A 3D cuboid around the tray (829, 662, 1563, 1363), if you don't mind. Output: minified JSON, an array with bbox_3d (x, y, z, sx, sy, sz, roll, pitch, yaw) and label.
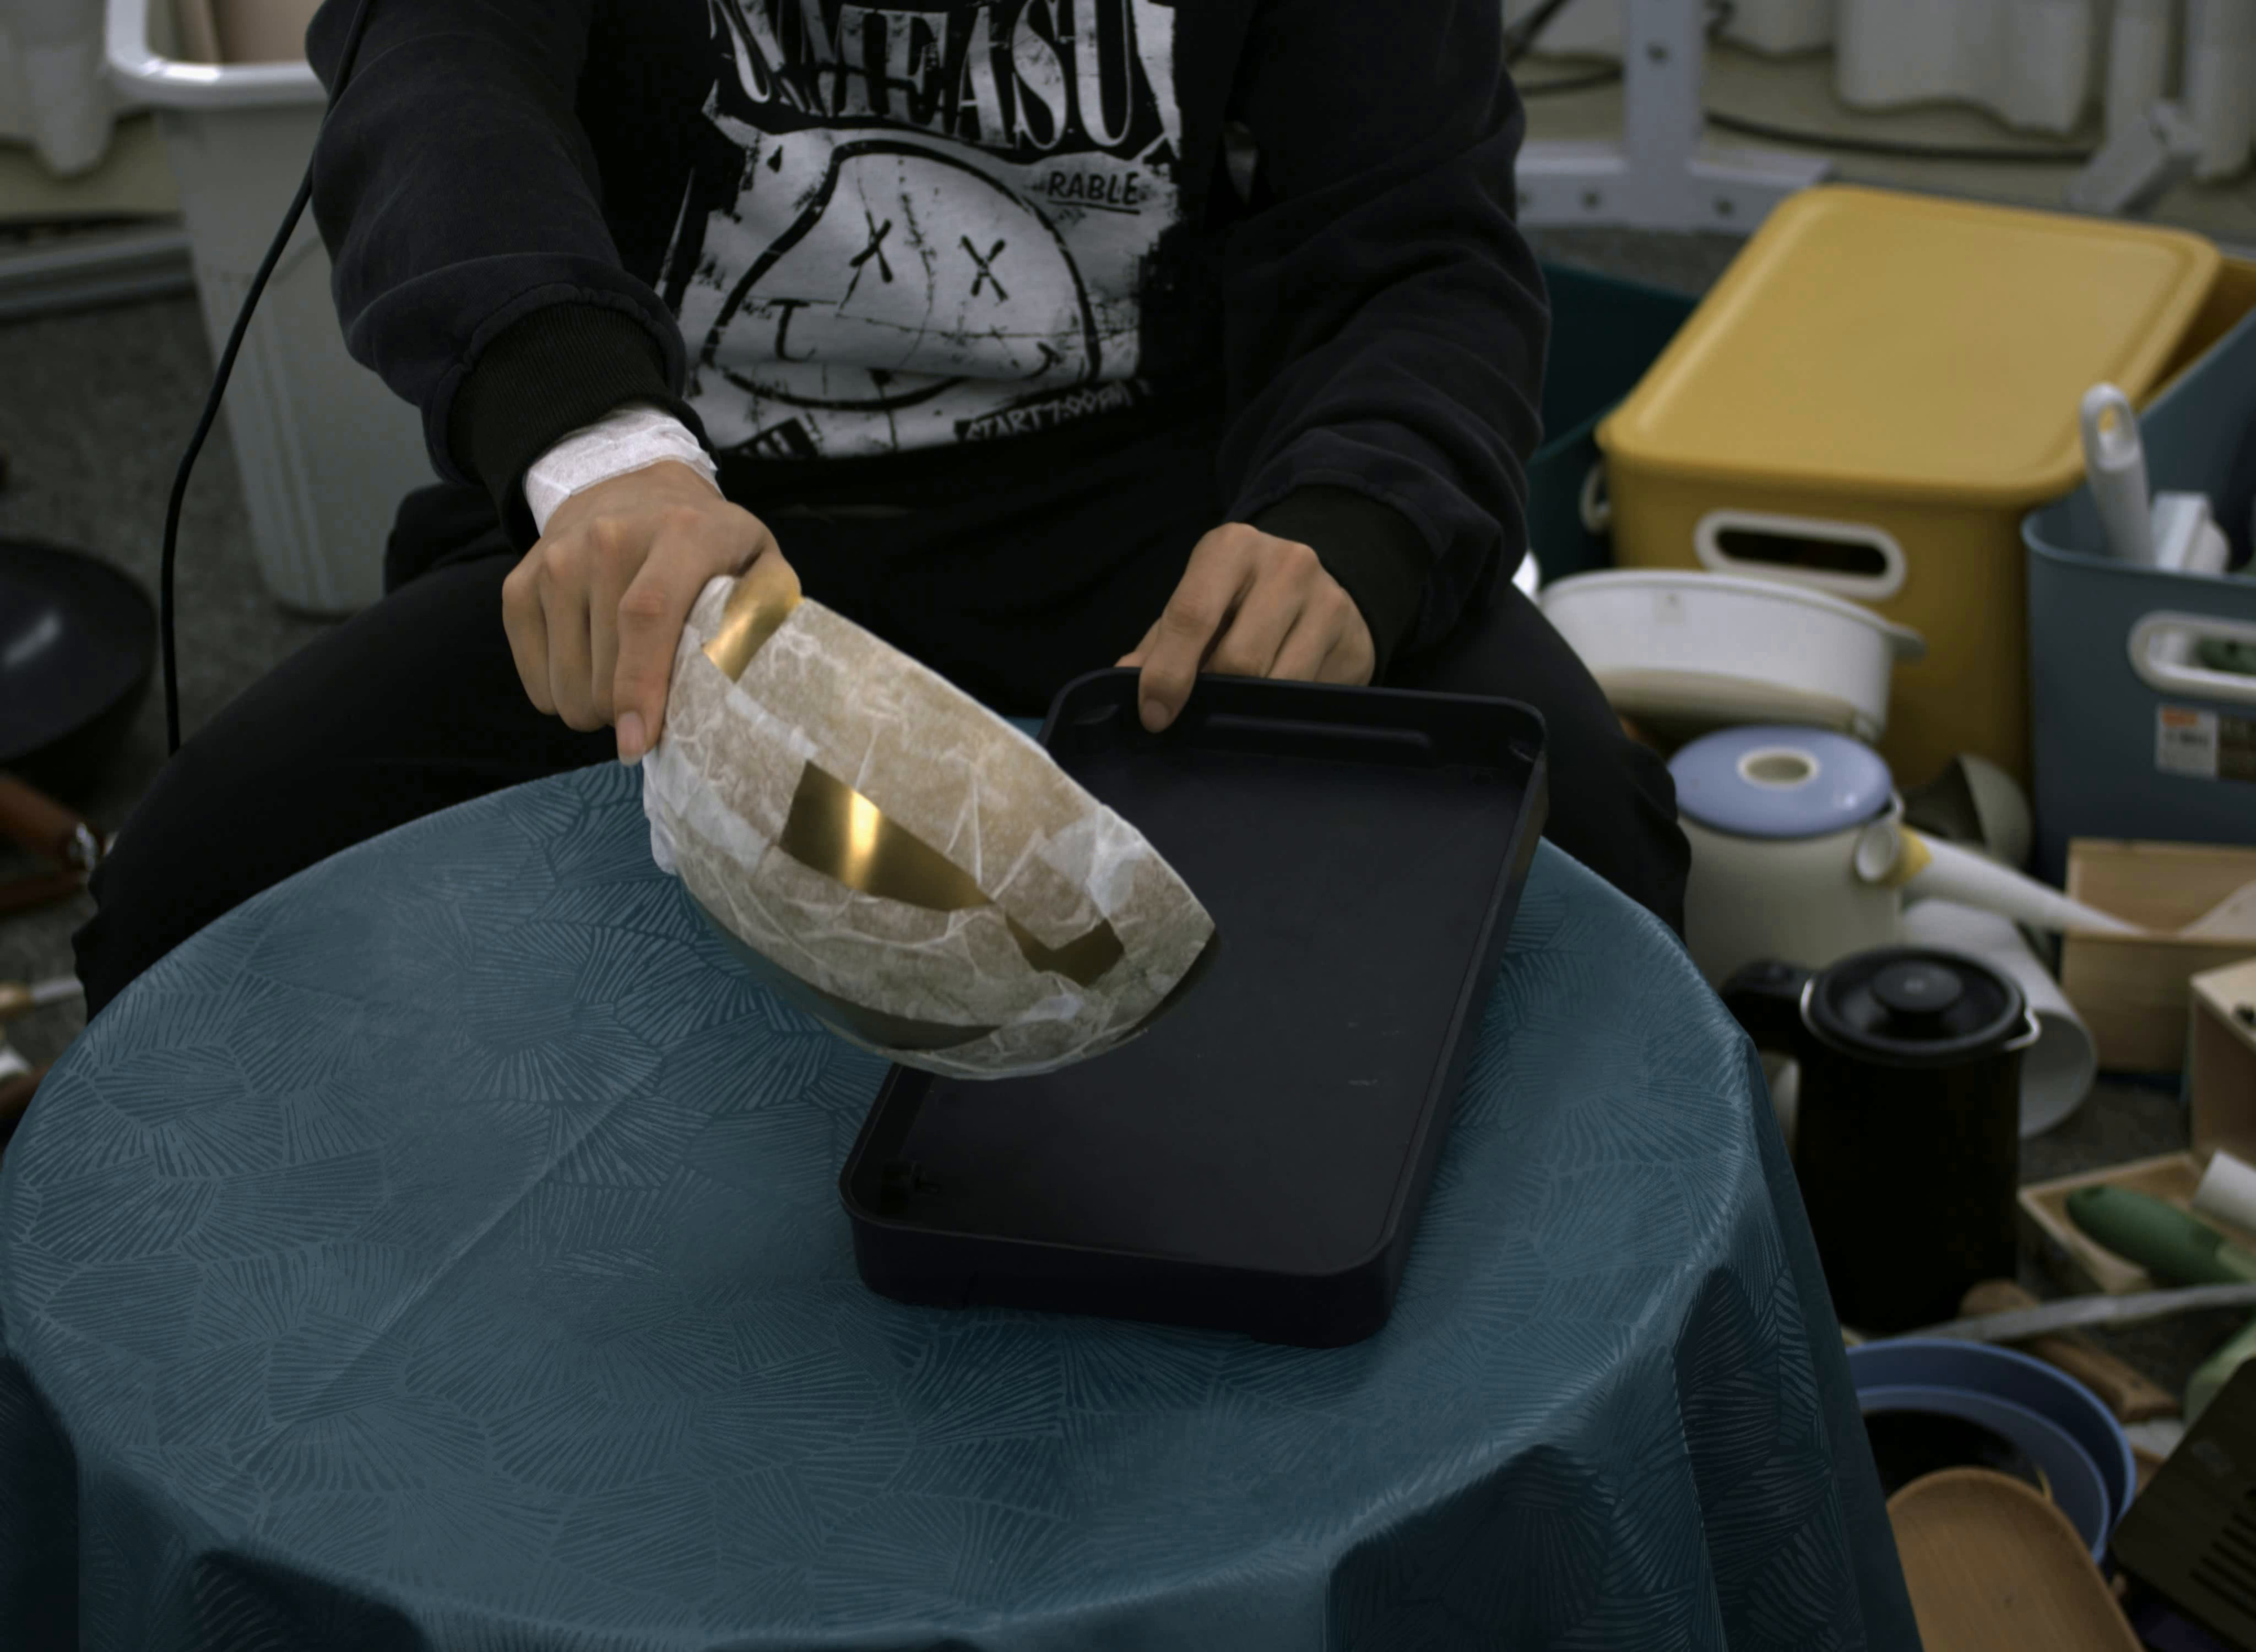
[{"bbox_3d":[0.030,0.056,1.903,0.183,0.036,0.324,6,38,14],"label":"tray"}]

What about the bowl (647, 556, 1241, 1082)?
[{"bbox_3d":[-0.075,0.018,1.761,0.214,0.213,0.095,26,75,43],"label":"bowl"}]
